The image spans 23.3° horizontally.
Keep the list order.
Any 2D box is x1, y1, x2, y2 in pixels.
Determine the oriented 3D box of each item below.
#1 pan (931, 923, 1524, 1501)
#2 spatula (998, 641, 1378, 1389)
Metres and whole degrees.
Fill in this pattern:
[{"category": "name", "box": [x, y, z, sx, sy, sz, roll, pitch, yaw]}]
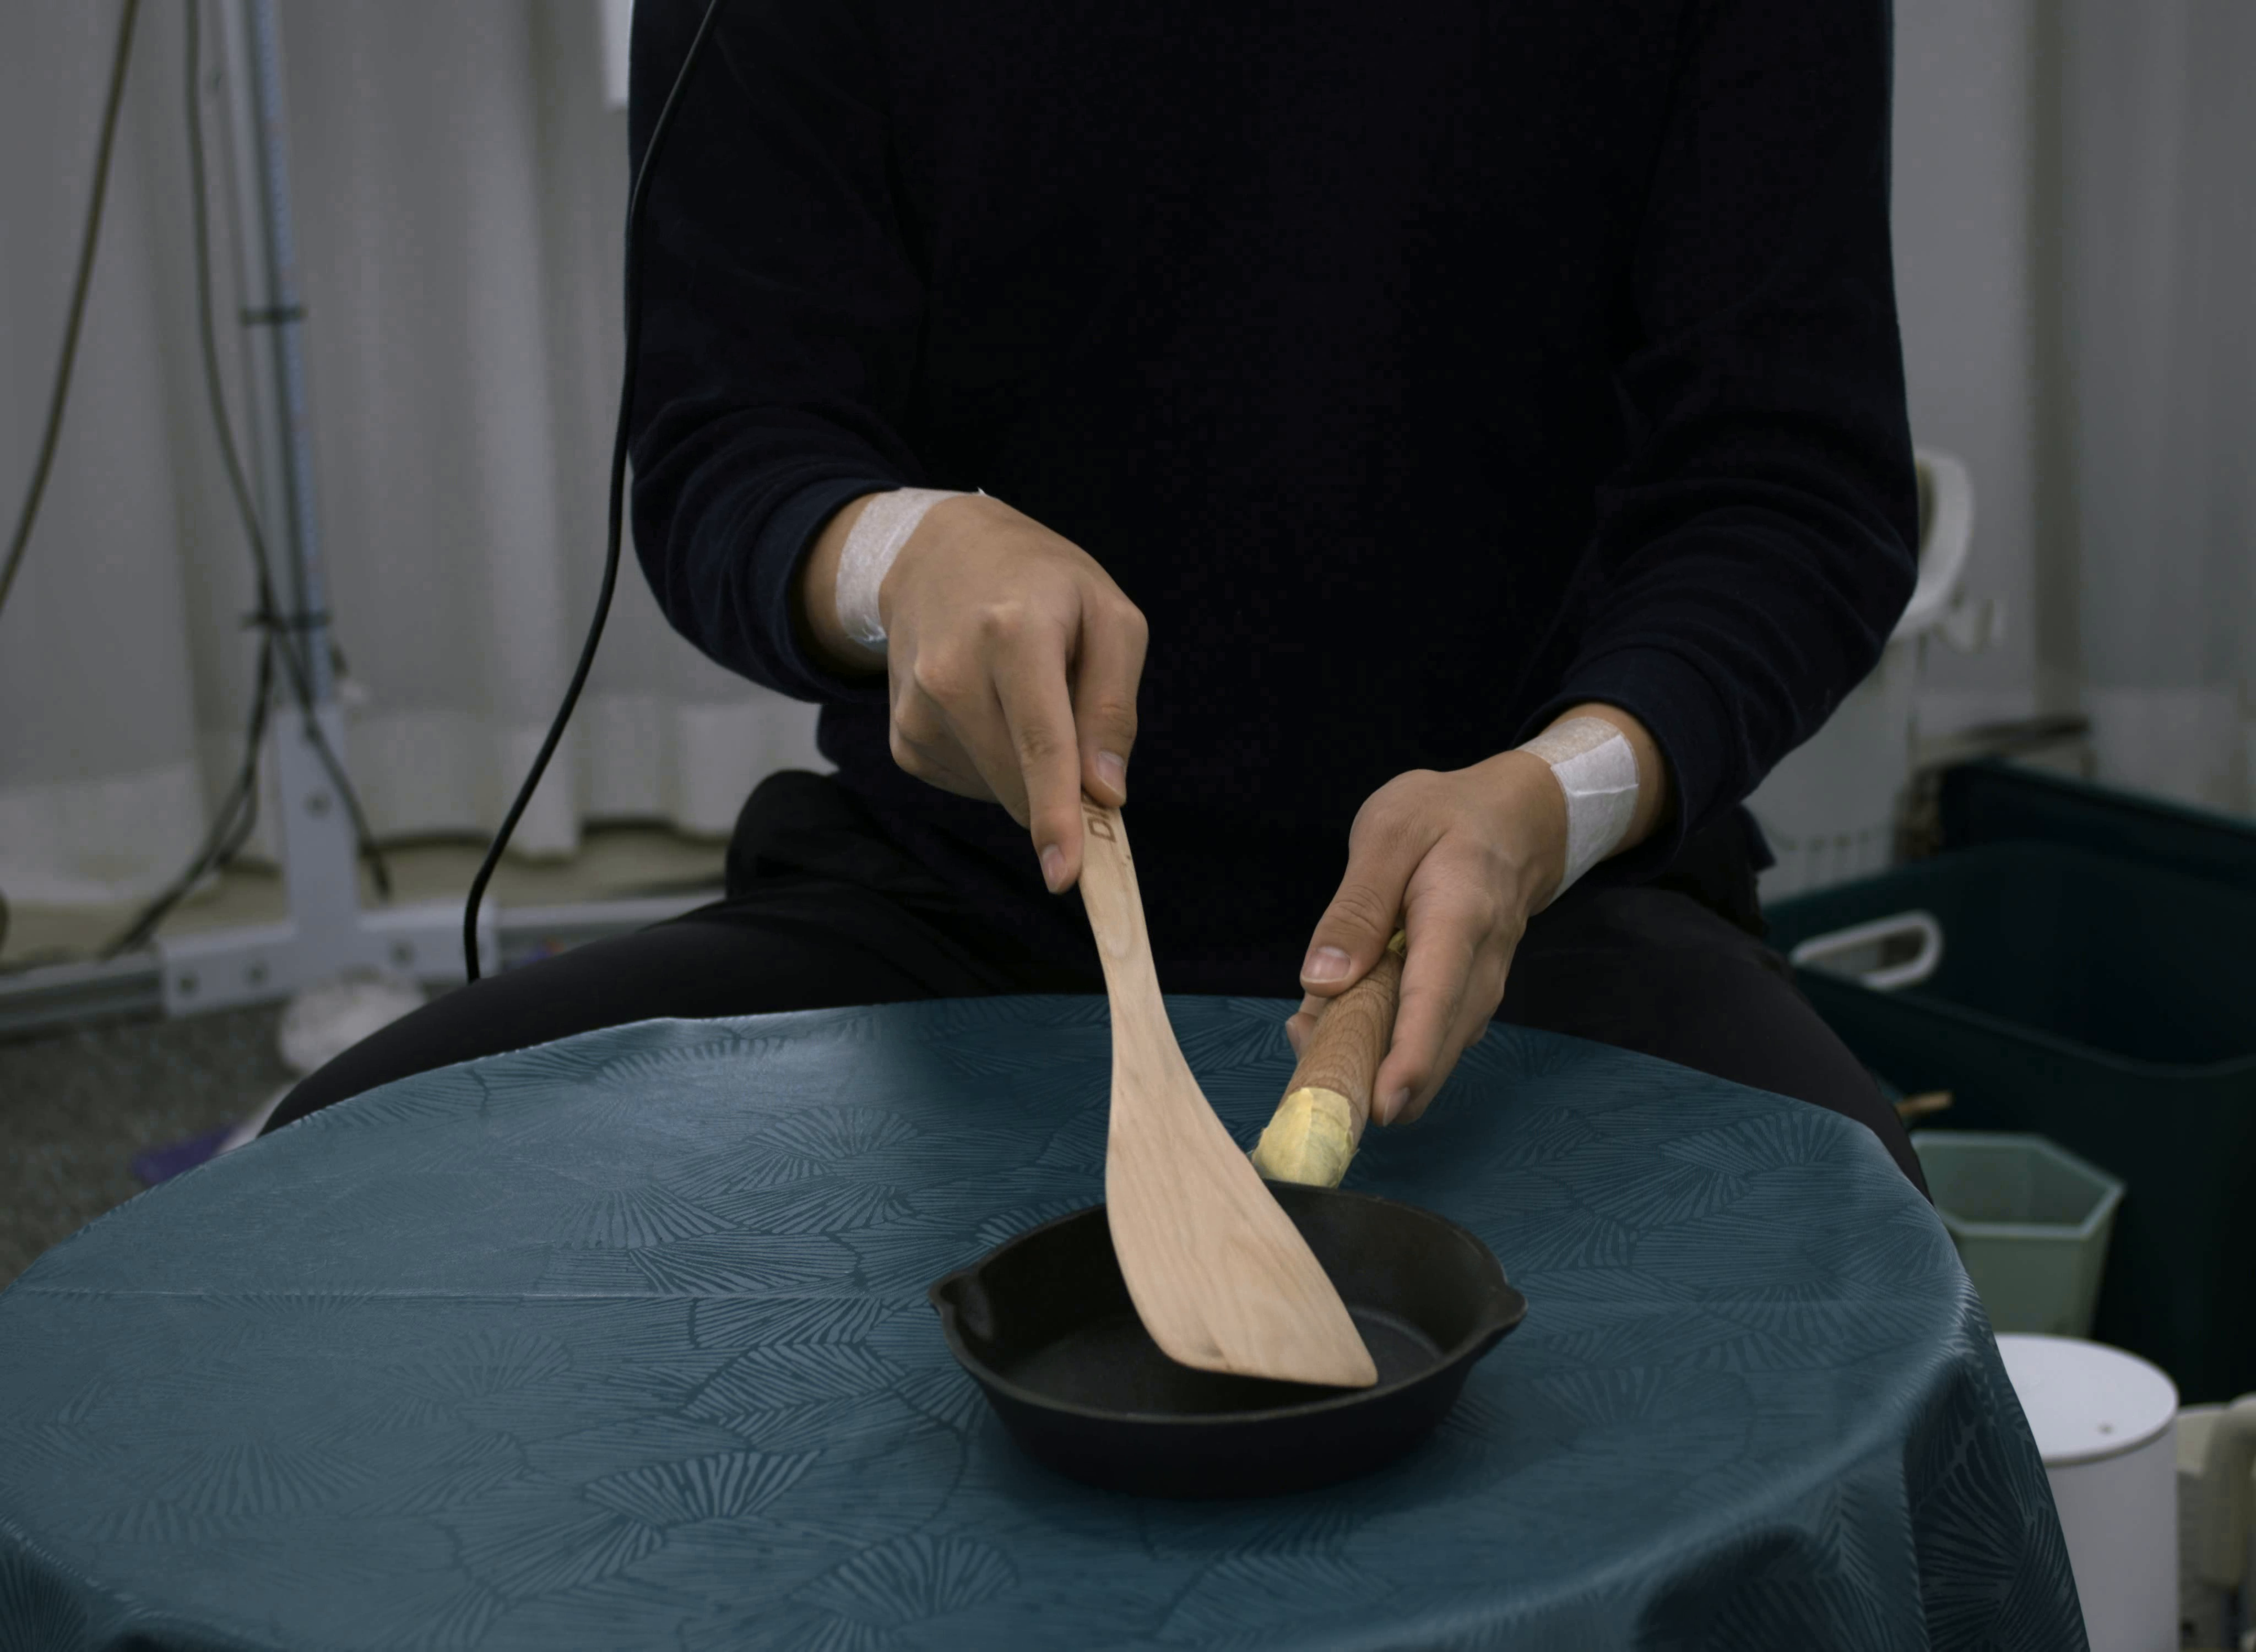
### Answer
[{"category": "pan", "box": [0.049, 0.108, 1.591, 0.169, 0.049, 0.326, 1, 21, 16]}, {"category": "spatula", "box": [0.006, 0.050, 1.614, 0.079, 0.016, 0.333, 18, 34, -29]}]
